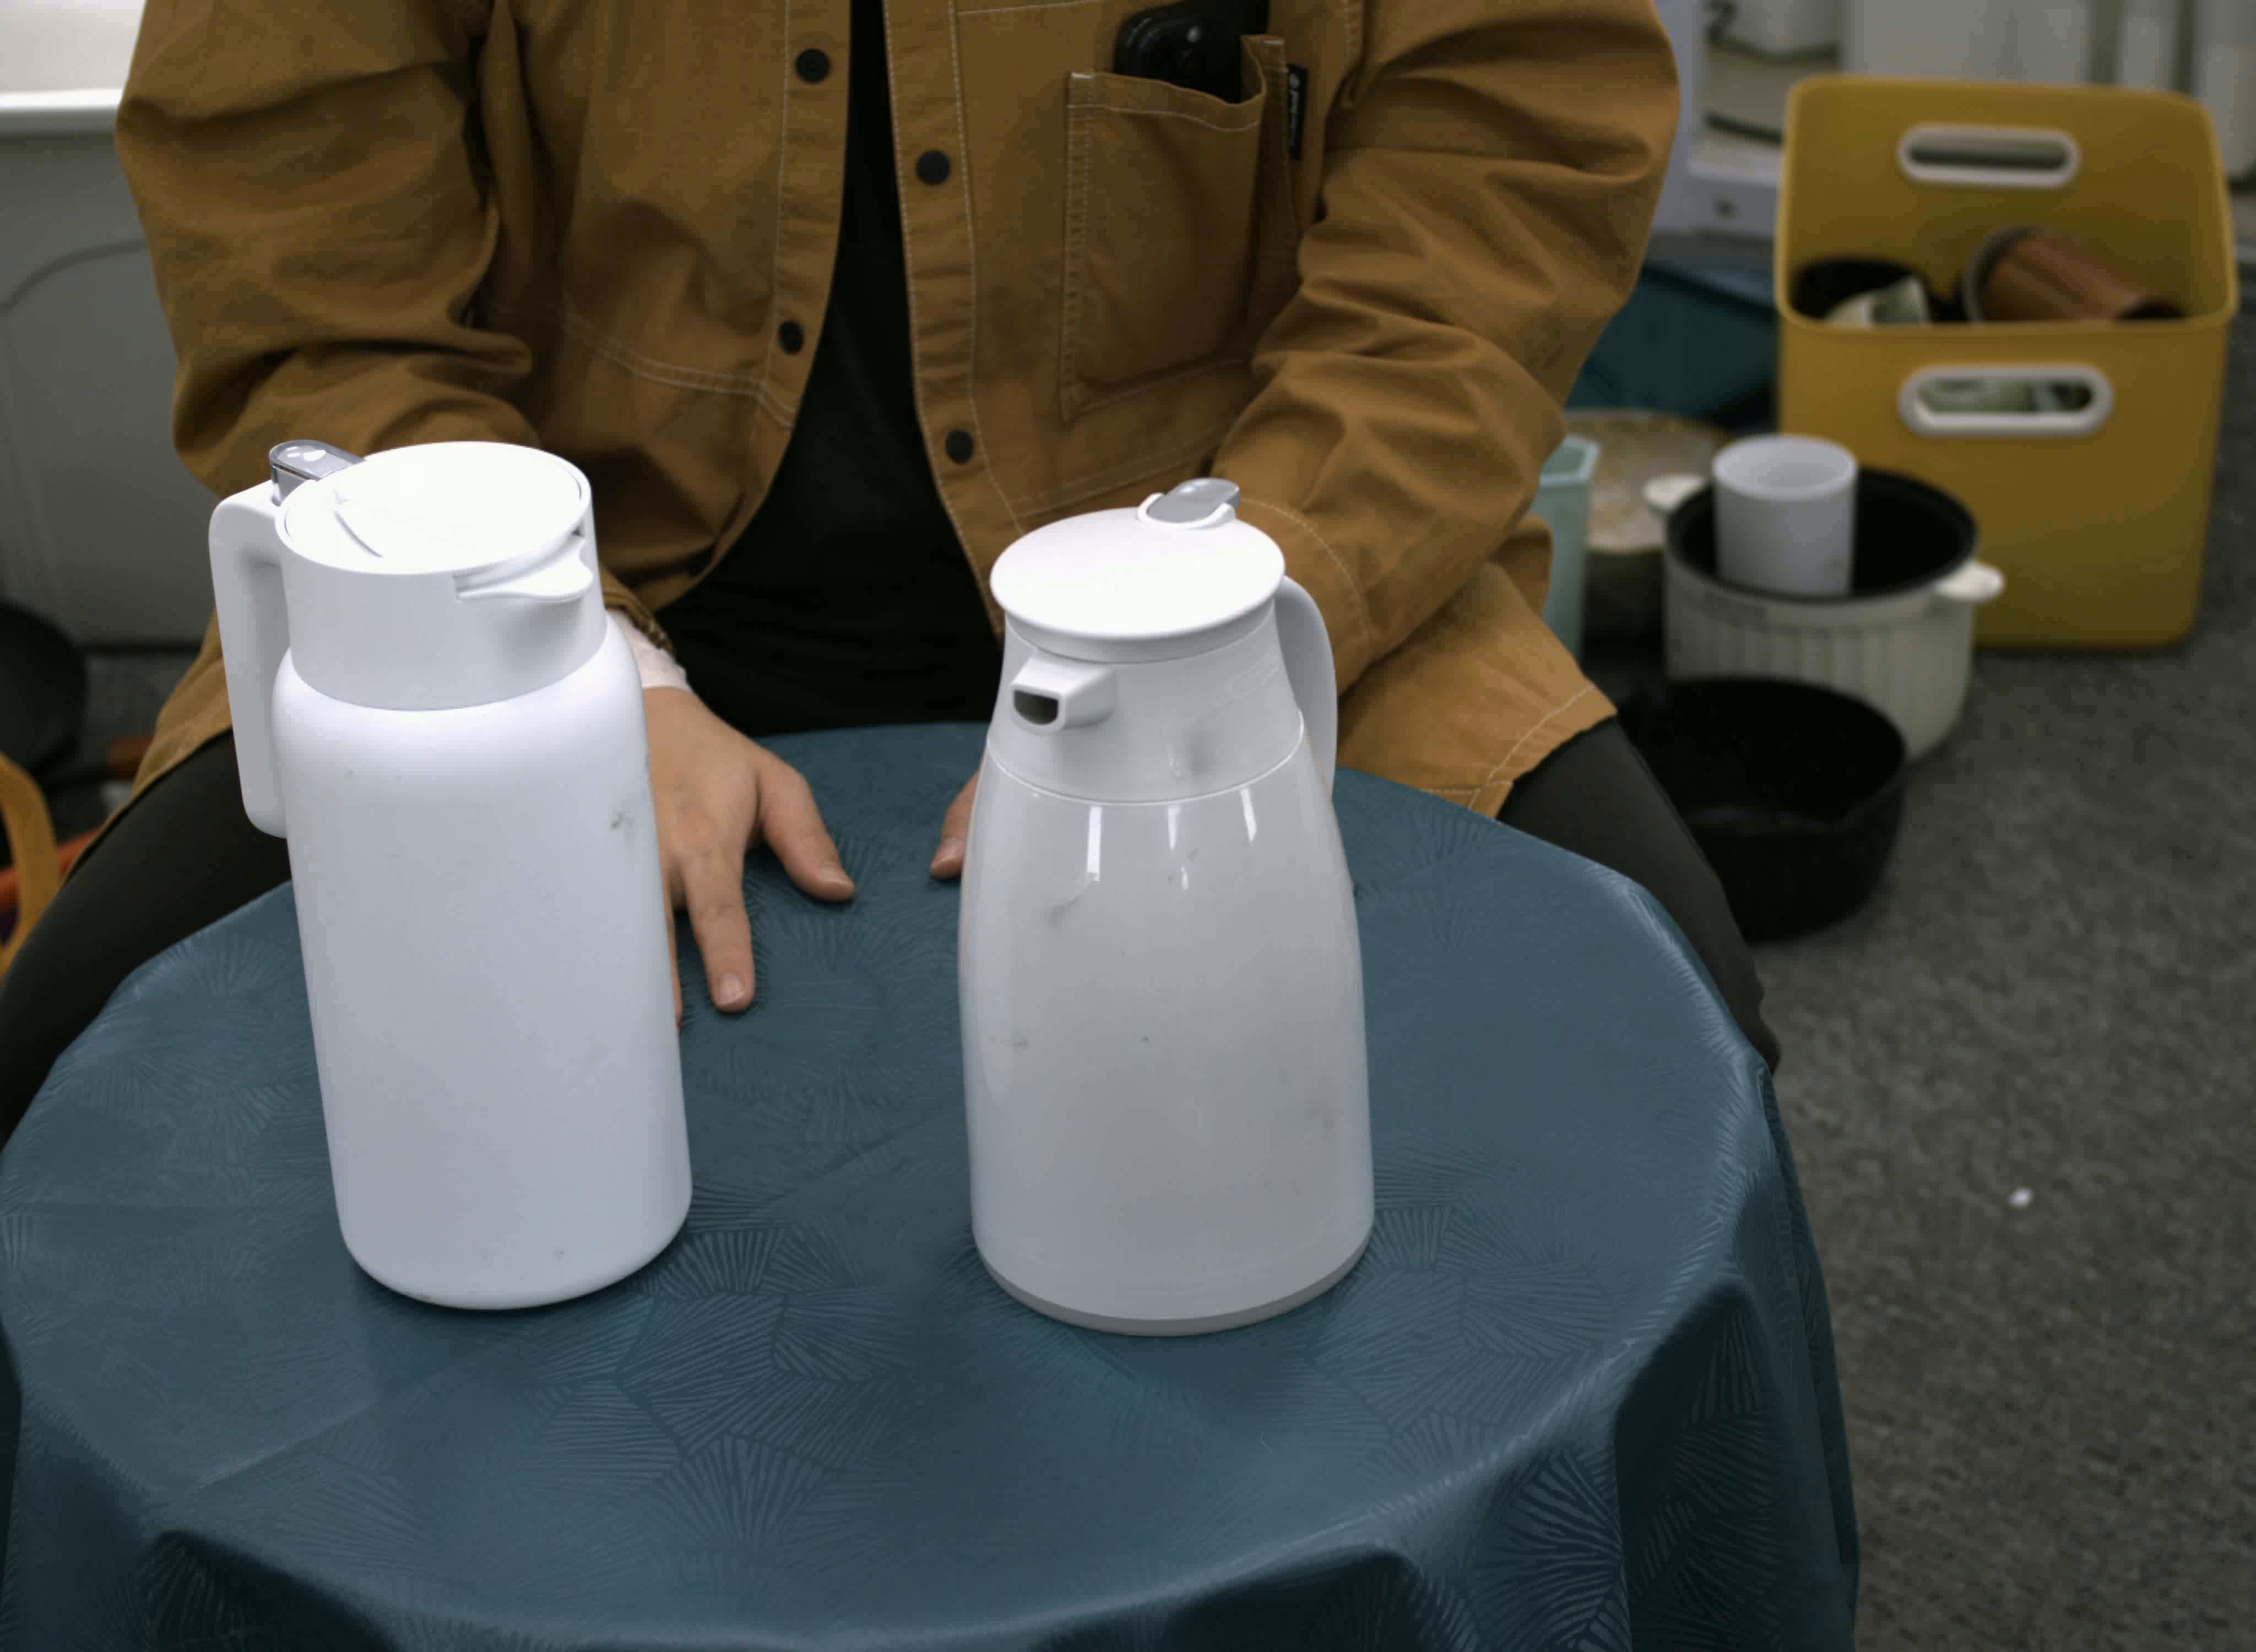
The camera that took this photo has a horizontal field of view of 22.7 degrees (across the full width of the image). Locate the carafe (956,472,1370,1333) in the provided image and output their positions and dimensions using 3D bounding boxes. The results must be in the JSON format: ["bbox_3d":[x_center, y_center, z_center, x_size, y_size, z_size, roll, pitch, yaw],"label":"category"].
[{"bbox_3d":[0.017,0.014,1.799,0.132,0.246,0.170,11,29,27],"label":"carafe"}]

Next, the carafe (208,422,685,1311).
[{"bbox_3d":[-0.222,0.011,1.807,0.172,0.266,0.125,20,36,38],"label":"carafe"}]
